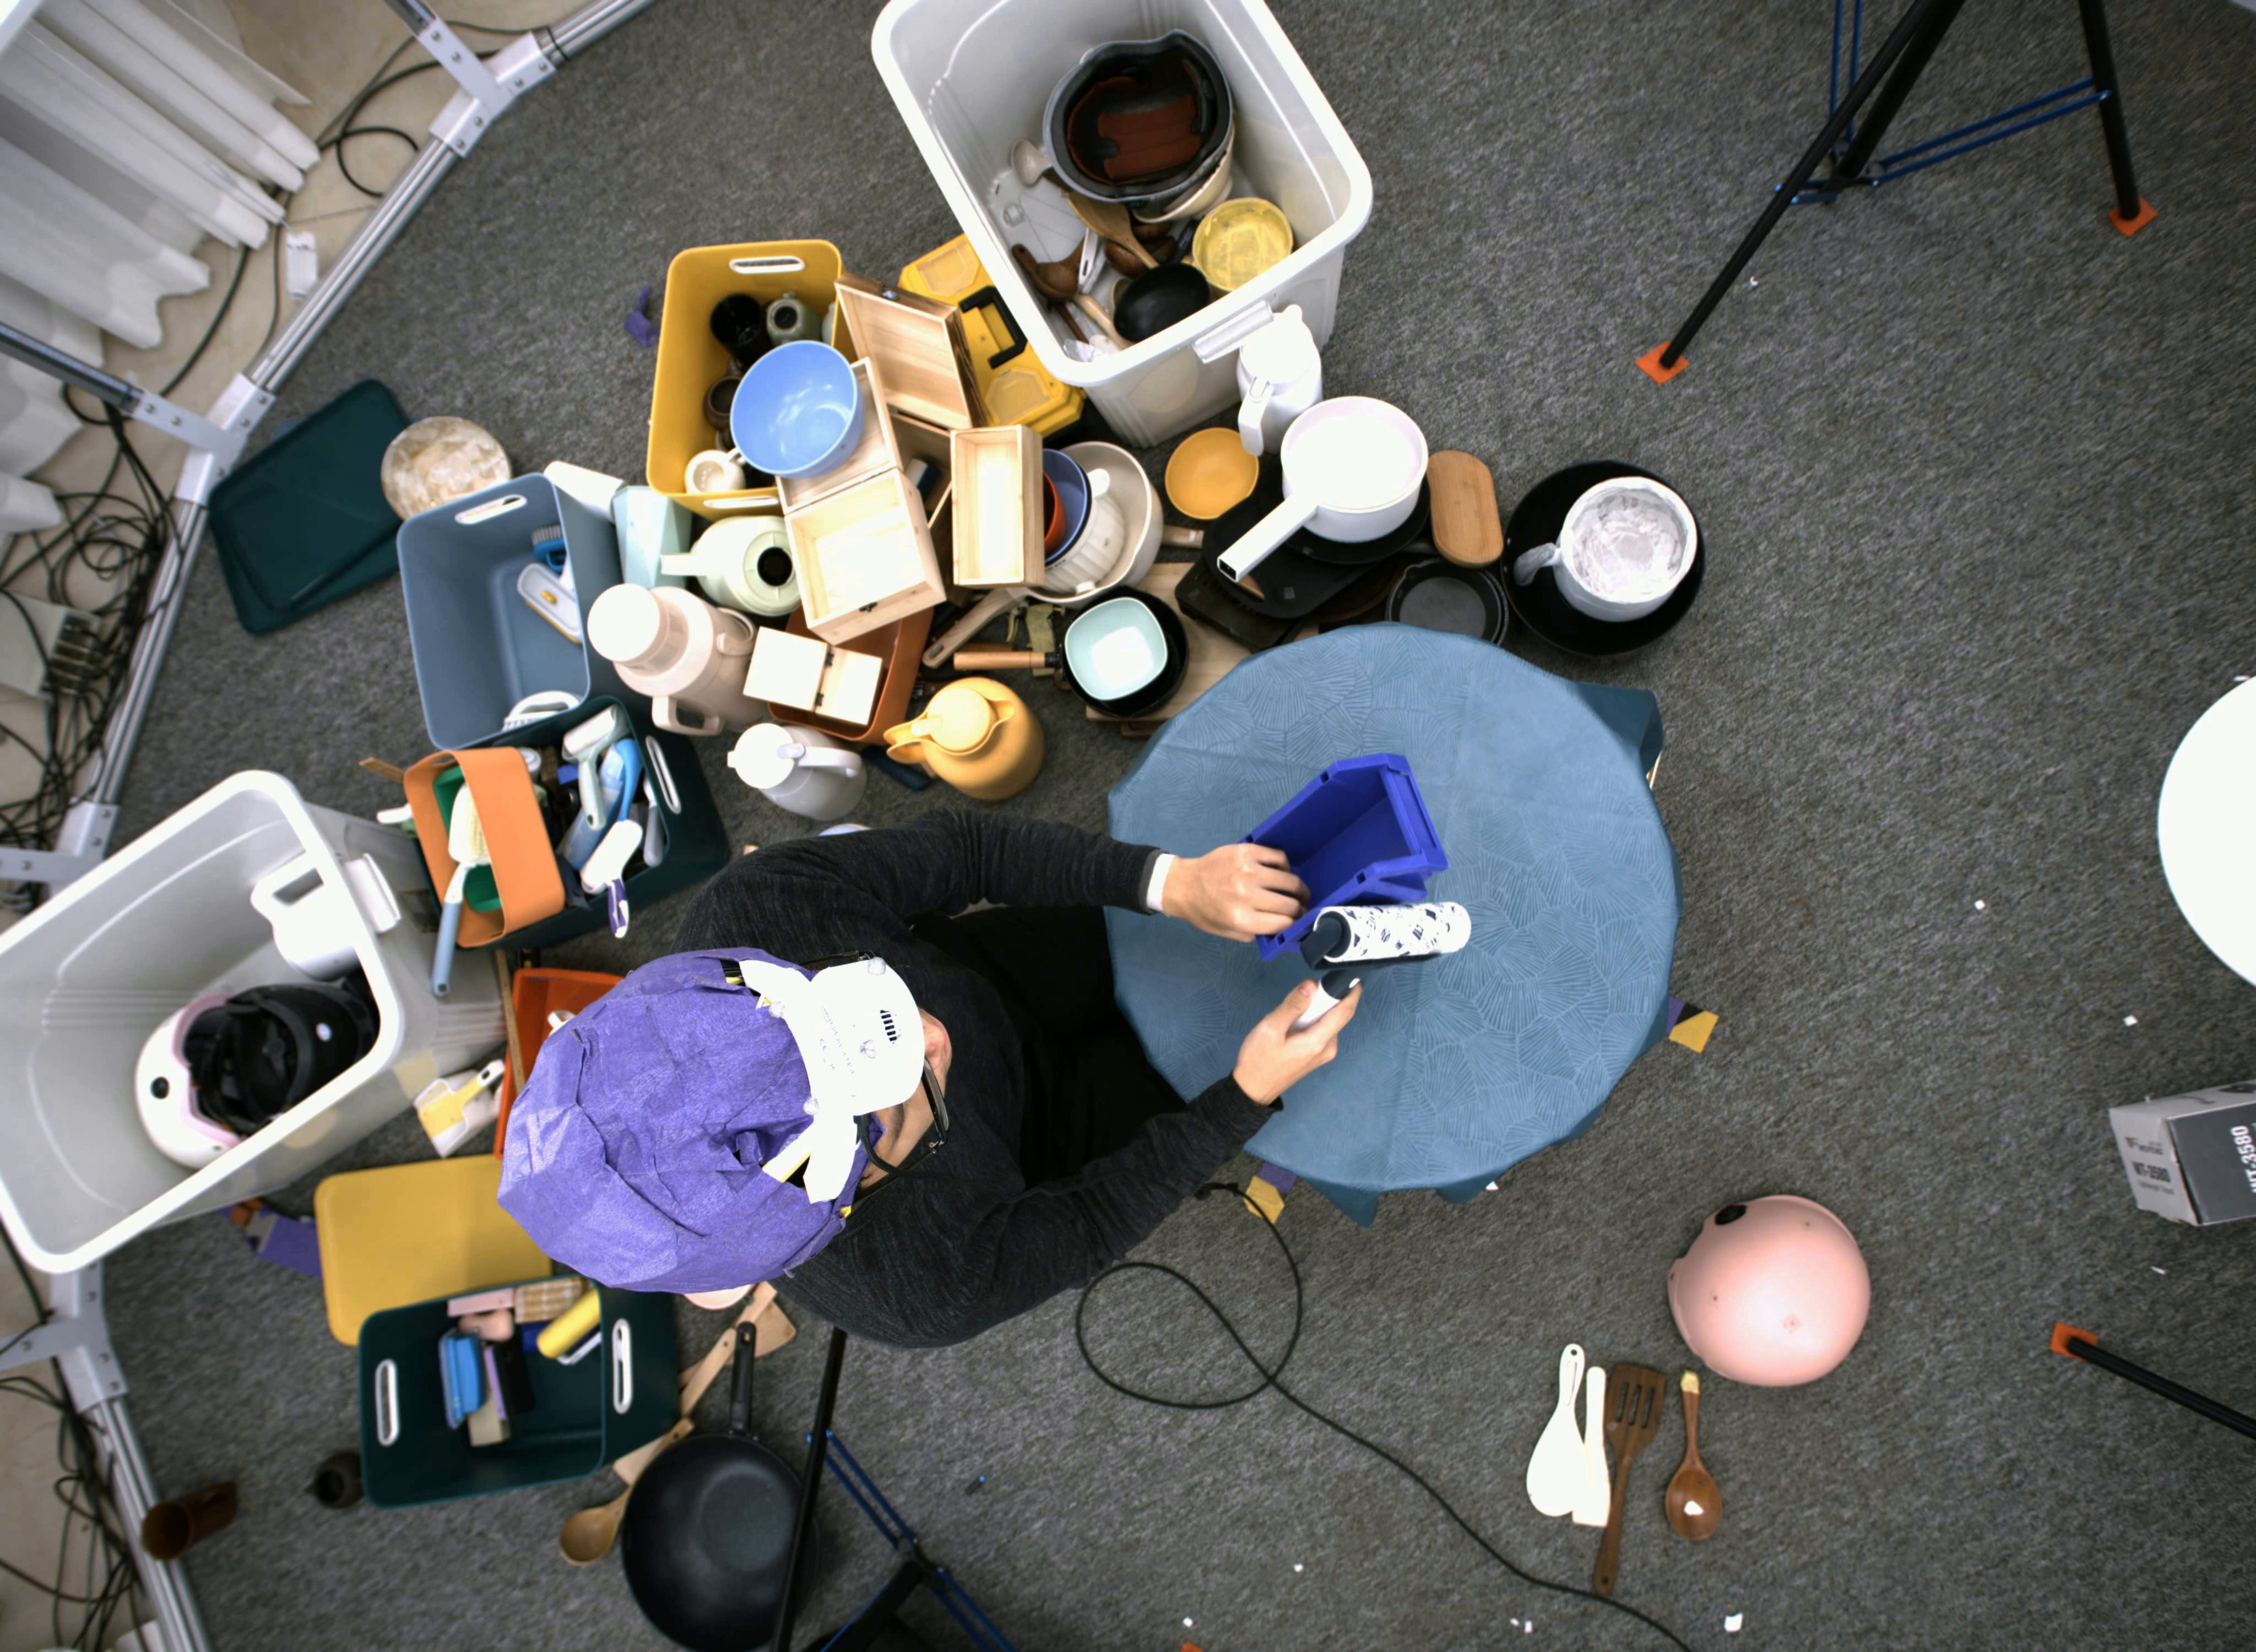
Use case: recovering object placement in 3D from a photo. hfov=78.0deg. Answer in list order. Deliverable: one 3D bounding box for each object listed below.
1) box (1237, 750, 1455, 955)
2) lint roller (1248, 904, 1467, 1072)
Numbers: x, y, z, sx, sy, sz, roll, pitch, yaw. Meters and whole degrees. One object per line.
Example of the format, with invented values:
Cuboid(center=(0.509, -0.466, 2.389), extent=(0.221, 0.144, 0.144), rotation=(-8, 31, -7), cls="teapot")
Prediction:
Cuboid(center=(0.196, 0.024, 1.242), extent=(0.183, 0.082, 0.122), rotation=(-42, 49, 40), cls="box")
Cuboid(center=(0.189, 0.160, 1.289), extent=(0.253, 0.175, 0.049), rotation=(-55, 51, 37), cls="lint roller")
